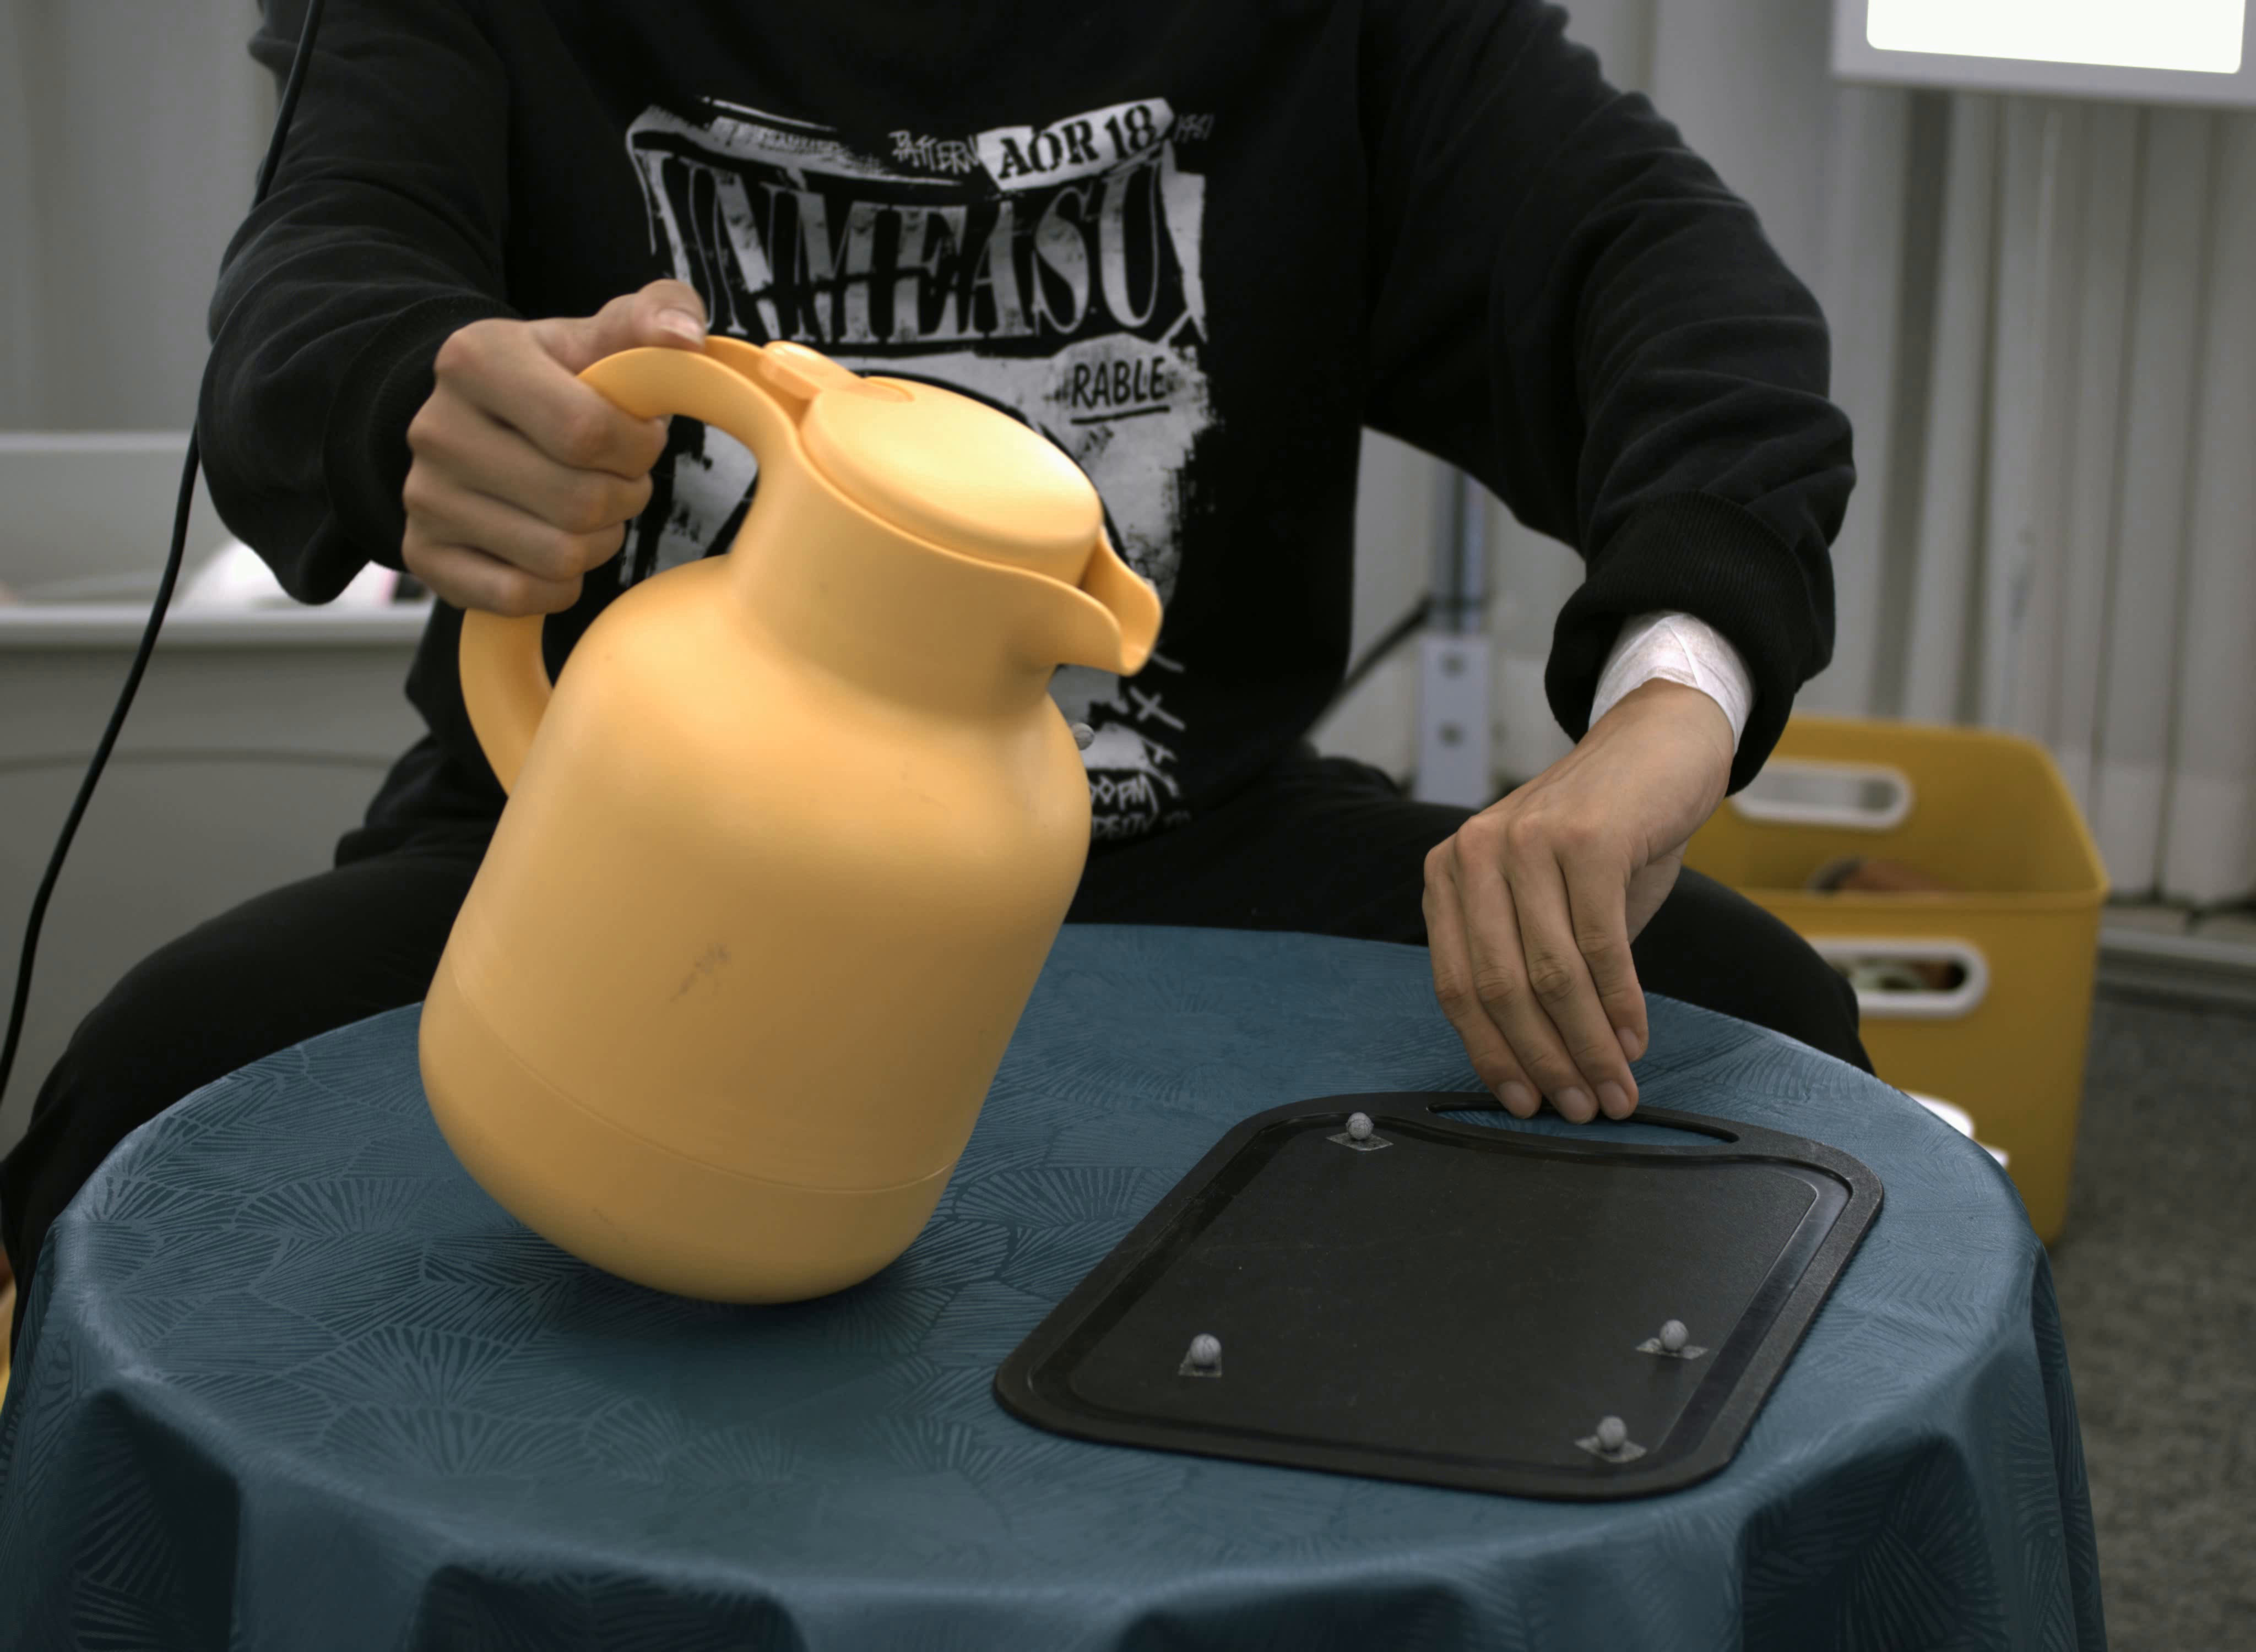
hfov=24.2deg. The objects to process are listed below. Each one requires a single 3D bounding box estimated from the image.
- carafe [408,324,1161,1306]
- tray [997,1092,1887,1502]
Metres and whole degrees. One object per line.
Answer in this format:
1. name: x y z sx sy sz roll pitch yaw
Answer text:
1. carafe: -0.109 -0.013 1.507 0.200 0.262 0.164 34 23 20
2. tray: 0.101 0.129 1.553 0.209 0.010 0.325 6 16 18
